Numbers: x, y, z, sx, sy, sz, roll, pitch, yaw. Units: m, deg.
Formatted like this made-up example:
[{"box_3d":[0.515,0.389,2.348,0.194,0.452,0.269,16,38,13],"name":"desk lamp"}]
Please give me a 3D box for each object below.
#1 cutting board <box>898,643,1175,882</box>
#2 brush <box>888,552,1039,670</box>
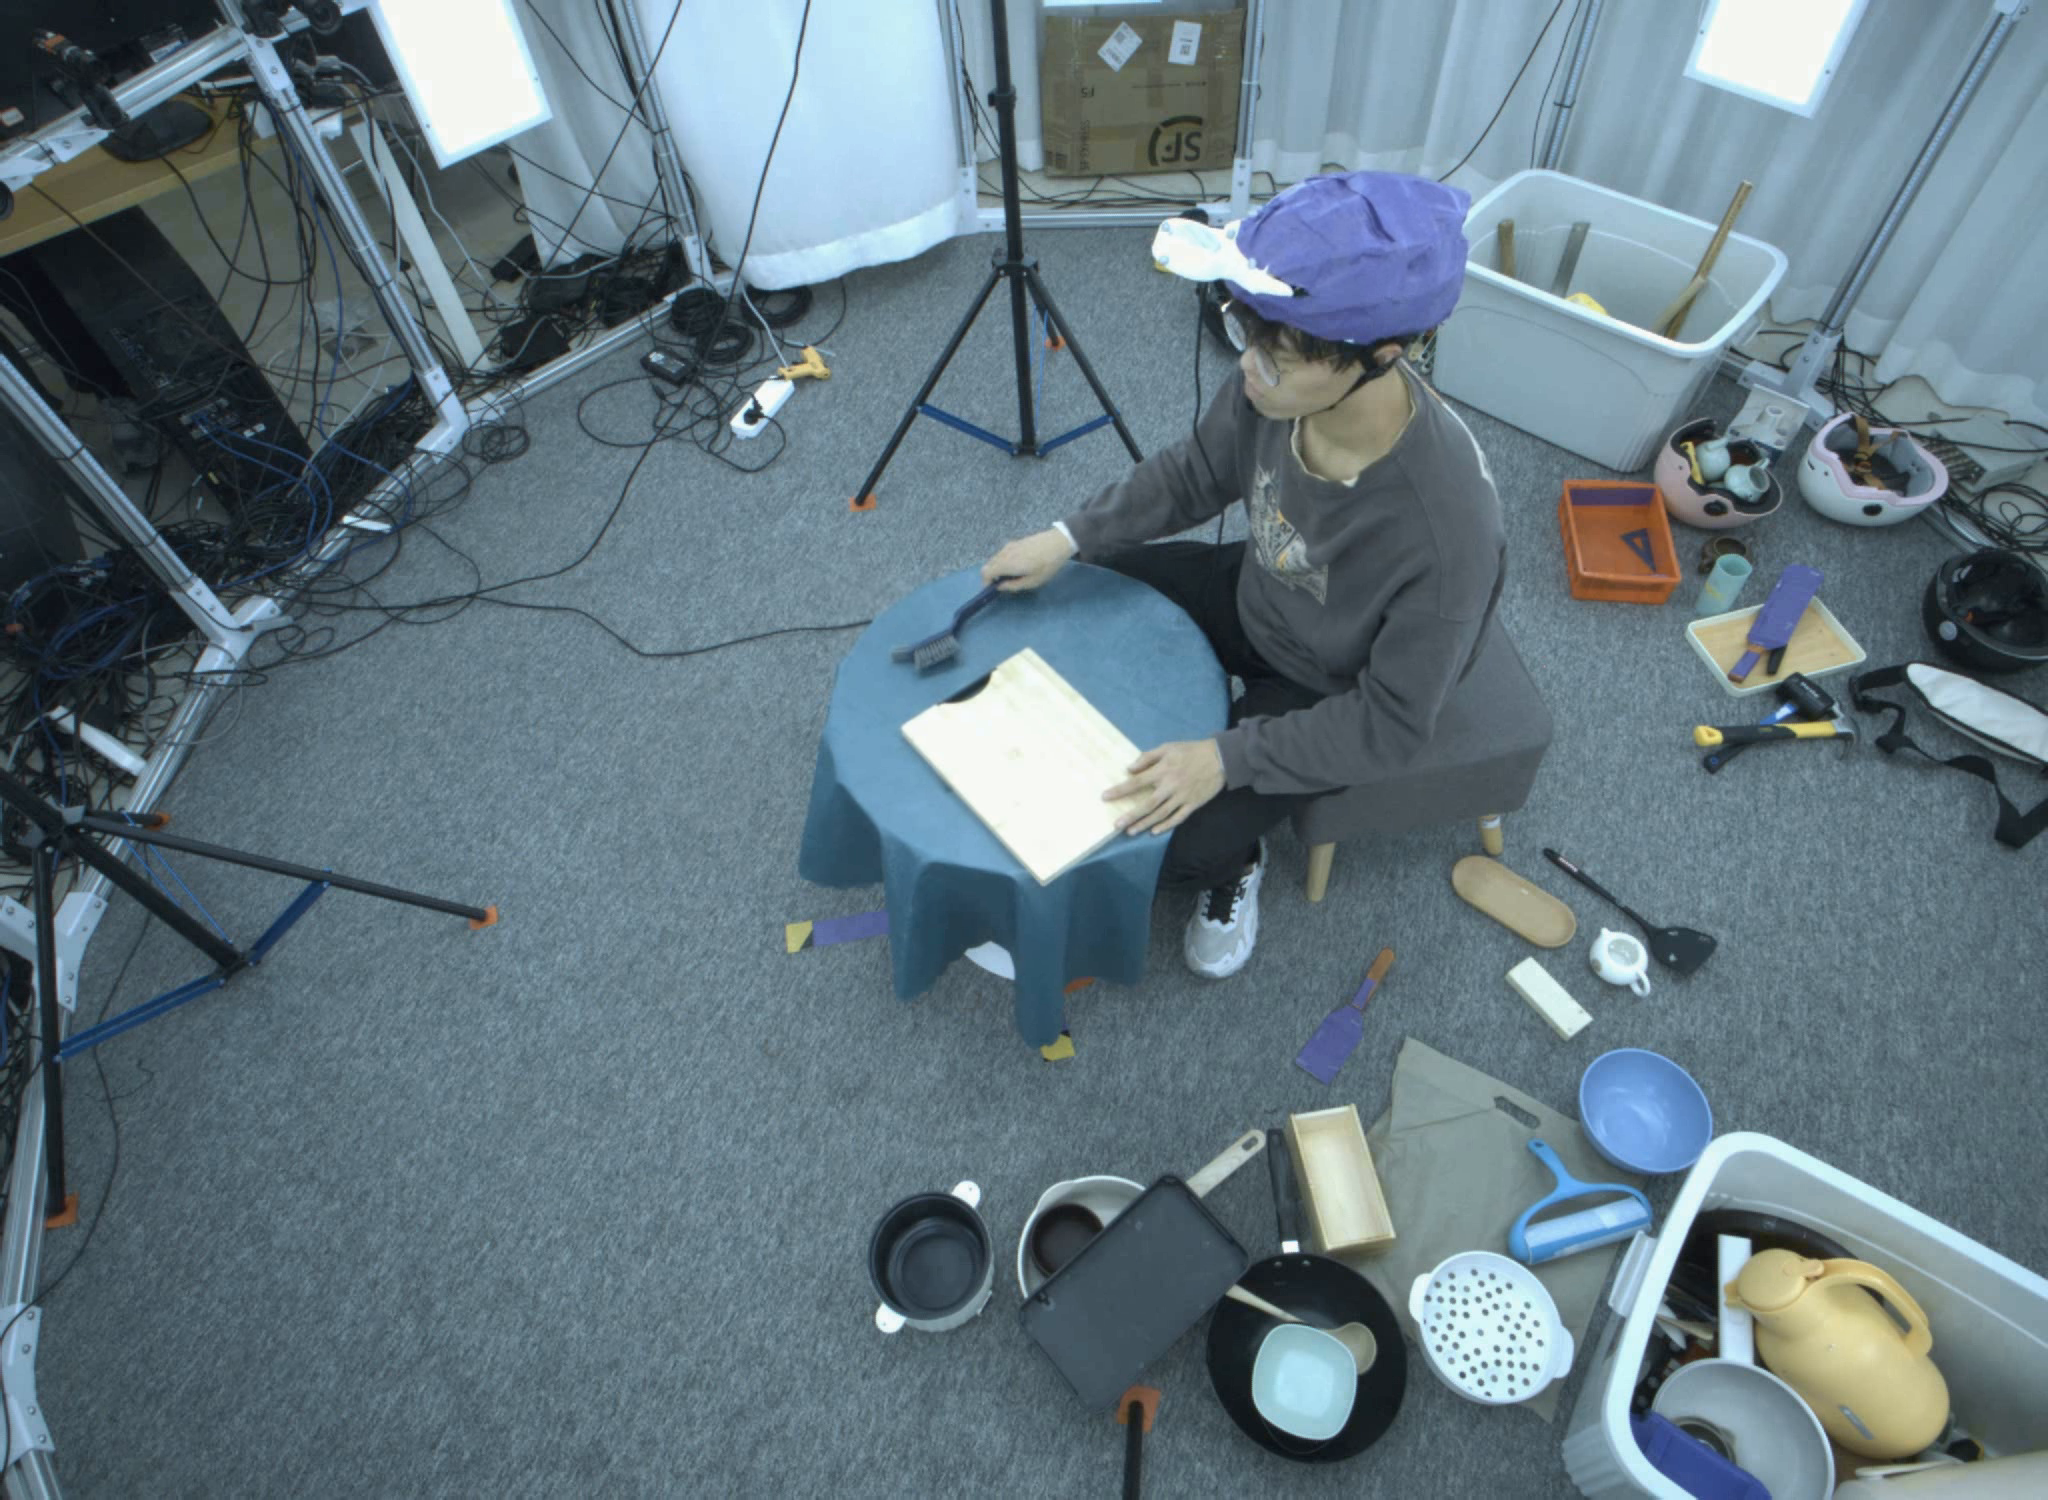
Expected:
[{"box_3d":[0.013,0.009,1.768,0.253,0.024,0.342,-34,60,-21],"name":"cutting board"},{"box_3d":[-0.090,-0.224,1.919,0.094,0.034,0.274,30,65,32],"name":"brush"}]
